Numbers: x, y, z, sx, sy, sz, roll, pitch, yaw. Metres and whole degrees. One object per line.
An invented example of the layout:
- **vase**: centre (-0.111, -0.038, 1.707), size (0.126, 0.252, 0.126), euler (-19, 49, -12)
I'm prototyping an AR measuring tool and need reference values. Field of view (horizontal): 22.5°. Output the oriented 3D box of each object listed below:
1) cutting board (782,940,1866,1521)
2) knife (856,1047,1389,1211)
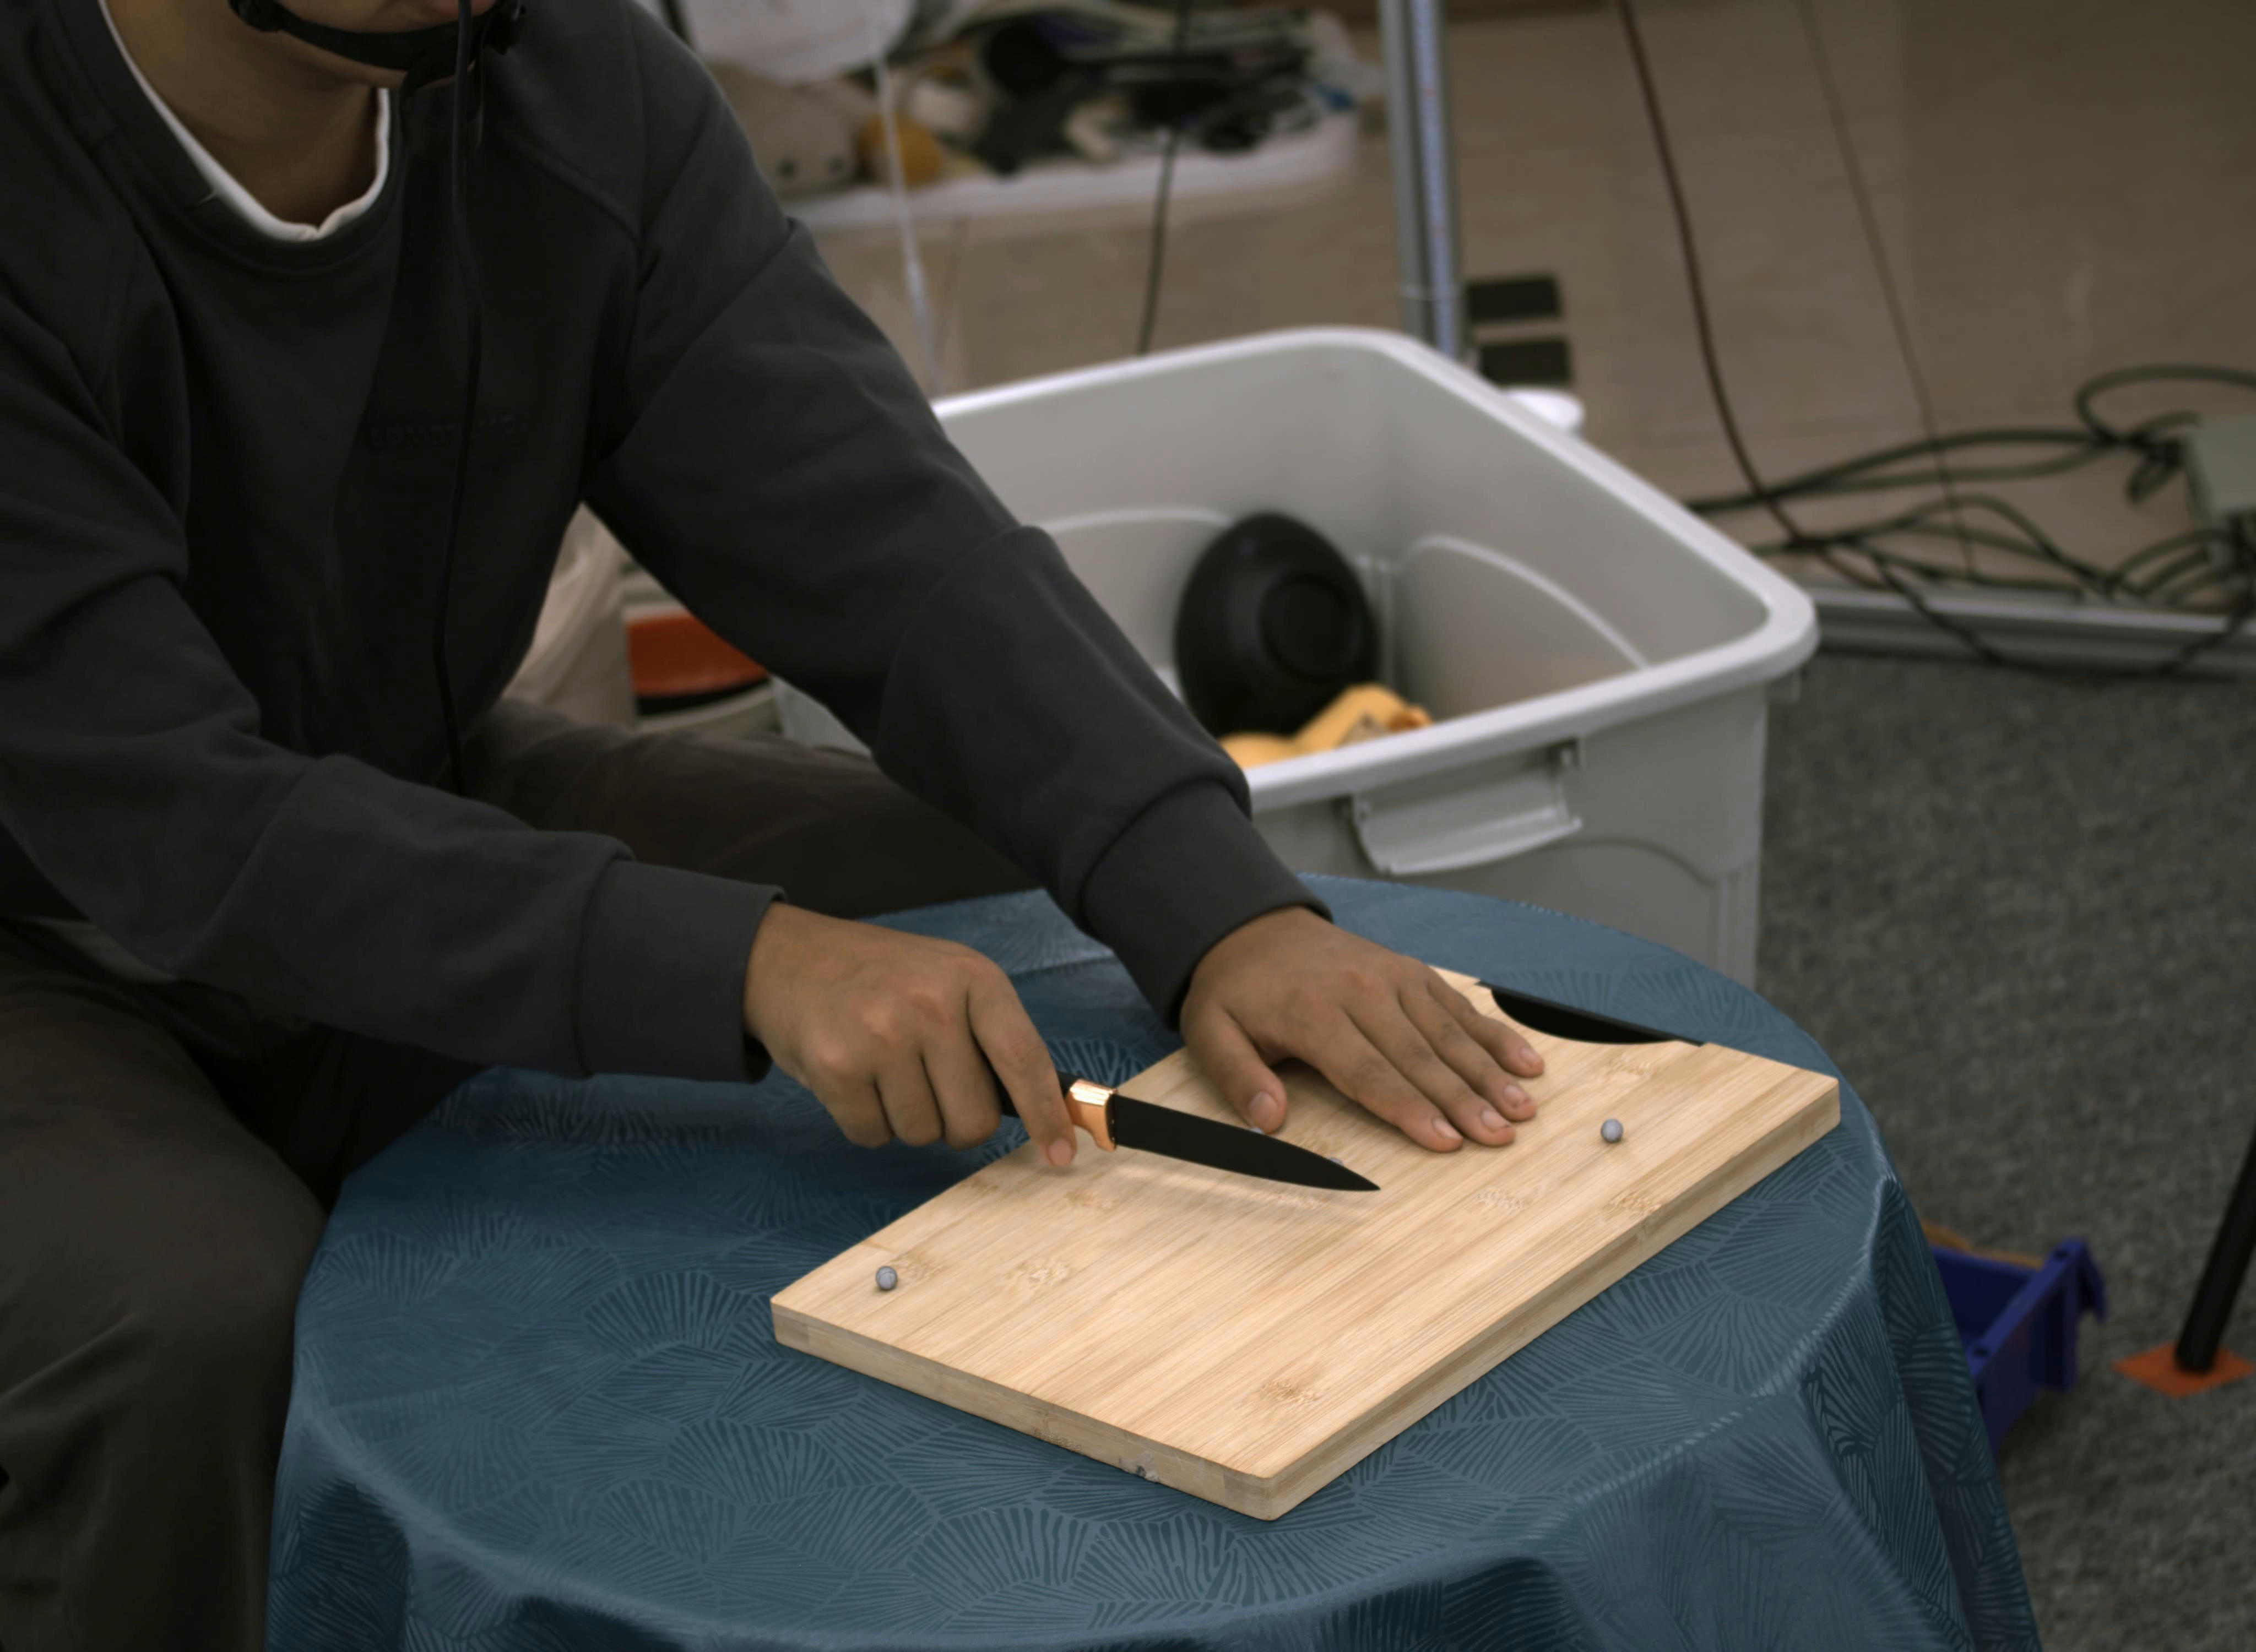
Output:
- **cutting board**: centre (0.074, 0.141, 2.106), size (0.249, 0.024, 0.345), euler (15, 32, 39)
- **knife**: centre (-0.004, 0.113, 2.120), size (0.224, 0.026, 0.017), euler (12, 33, 26)
